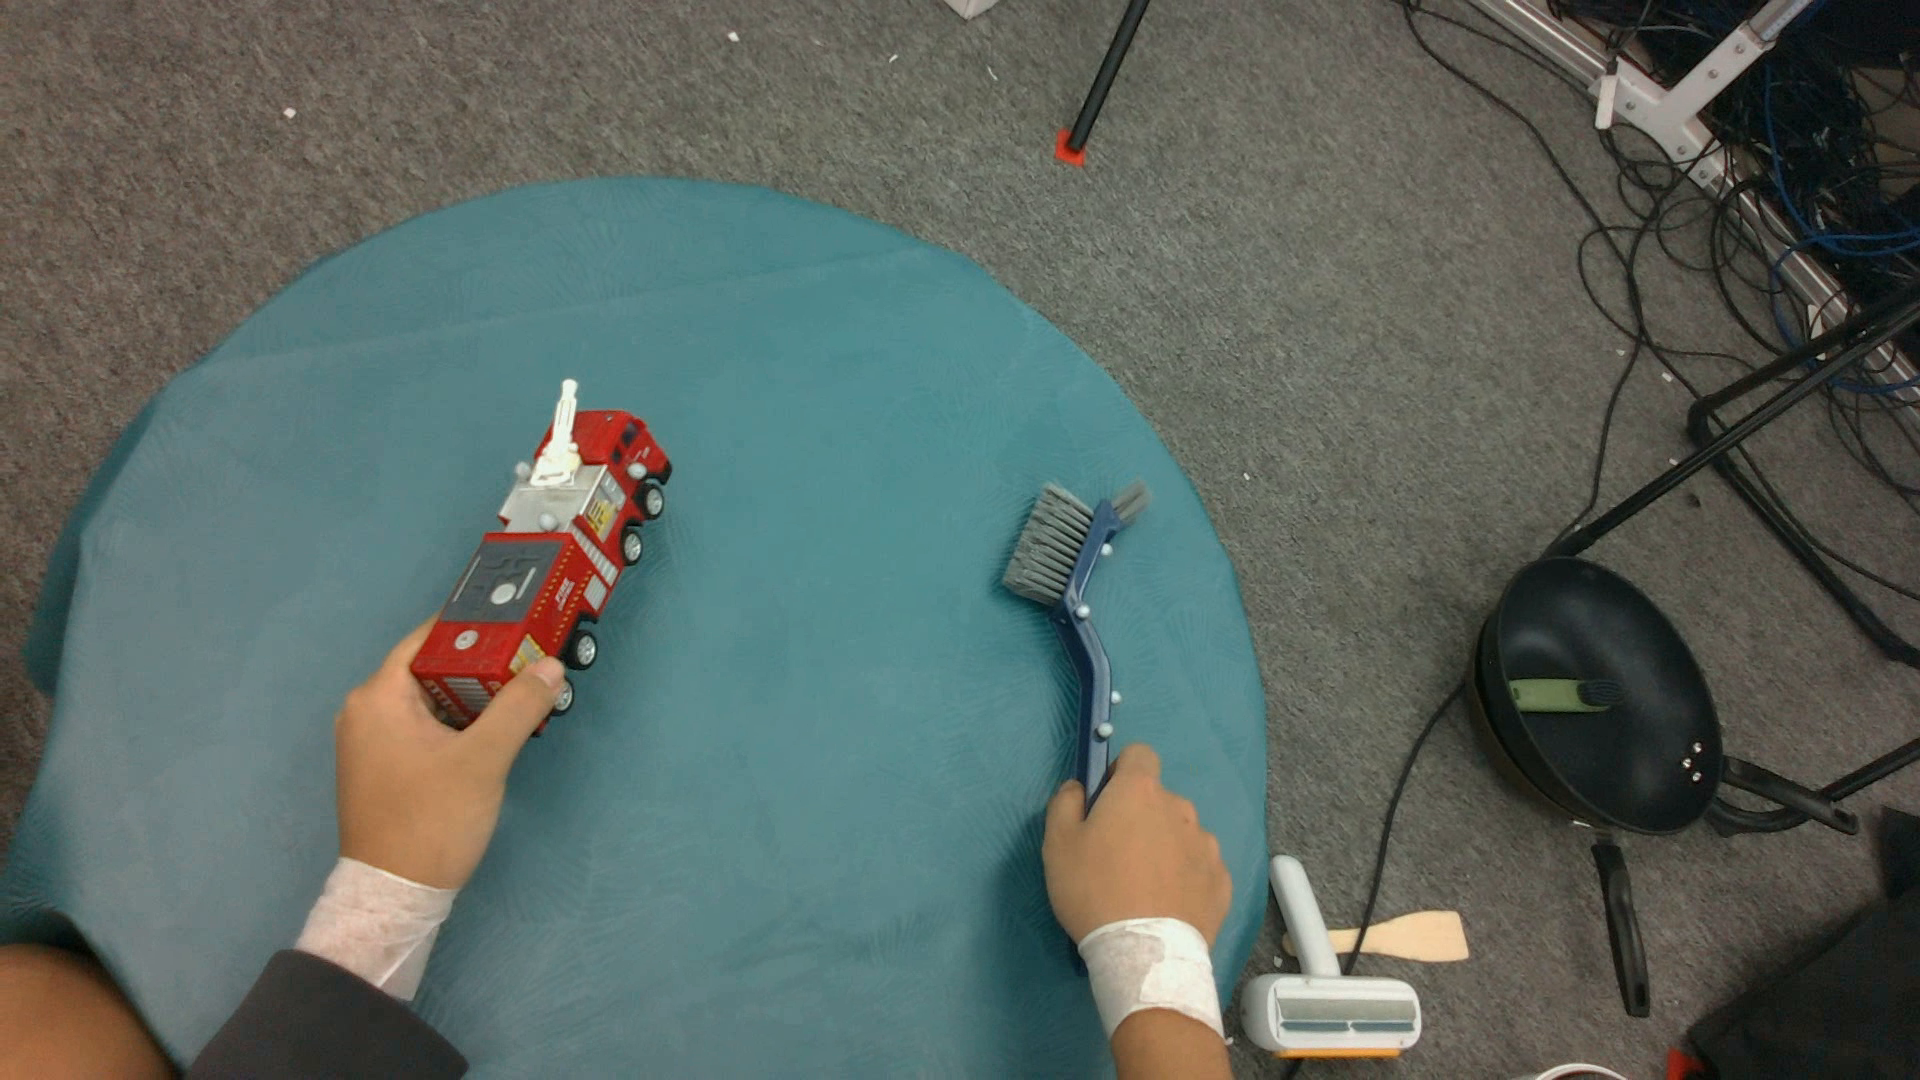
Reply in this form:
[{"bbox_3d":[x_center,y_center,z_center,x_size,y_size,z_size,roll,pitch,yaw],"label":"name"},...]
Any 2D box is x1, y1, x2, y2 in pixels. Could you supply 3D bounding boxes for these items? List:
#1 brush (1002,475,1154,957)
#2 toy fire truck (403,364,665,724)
[{"bbox_3d":[0.073,0.082,0.735,0.096,0.033,0.274,6,61,-17],"label":"brush"},{"bbox_3d":[-0.188,0.002,0.626,0.054,0.070,0.169,-1,50,19],"label":"toy fire truck"}]
